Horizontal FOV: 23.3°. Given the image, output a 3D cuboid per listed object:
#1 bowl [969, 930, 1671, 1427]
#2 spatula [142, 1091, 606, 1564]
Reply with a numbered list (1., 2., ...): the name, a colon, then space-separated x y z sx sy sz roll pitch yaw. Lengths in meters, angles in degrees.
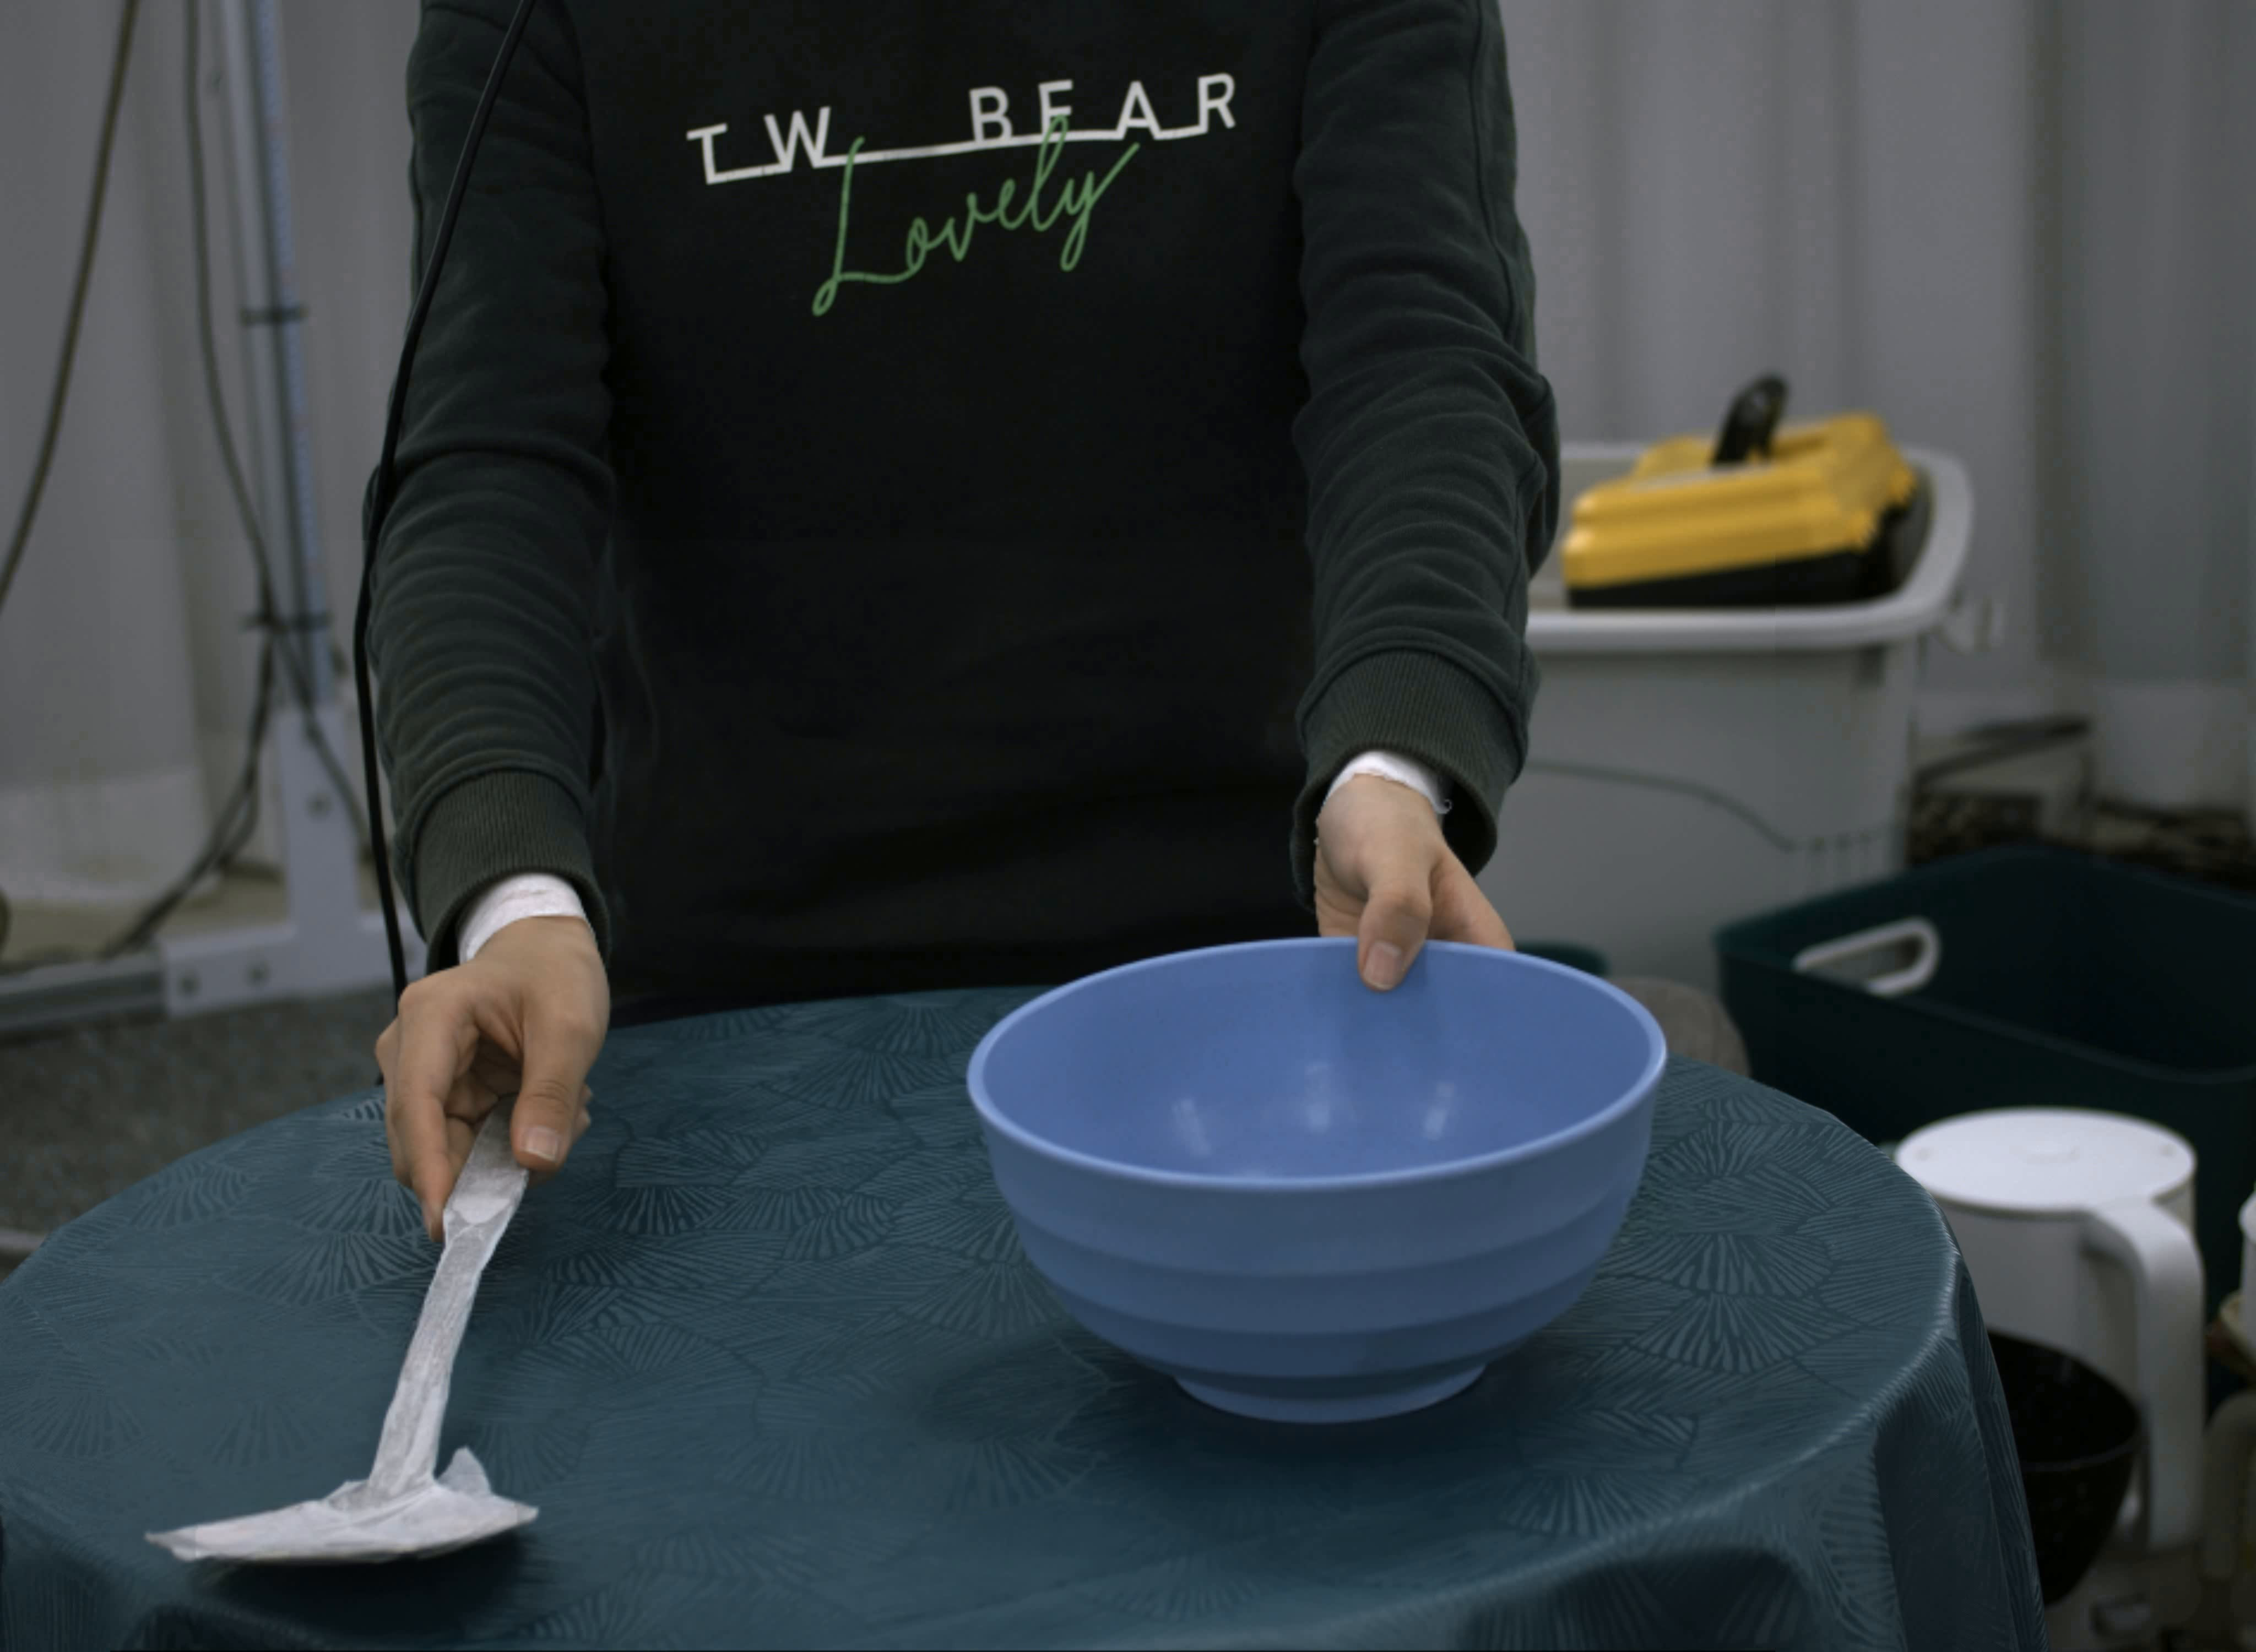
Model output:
1. bowl: 0.056 0.107 1.541 0.196 0.095 0.198 -3 19 1
2. spatula: -0.191 0.134 1.557 0.098 0.044 0.368 -5 21 6
